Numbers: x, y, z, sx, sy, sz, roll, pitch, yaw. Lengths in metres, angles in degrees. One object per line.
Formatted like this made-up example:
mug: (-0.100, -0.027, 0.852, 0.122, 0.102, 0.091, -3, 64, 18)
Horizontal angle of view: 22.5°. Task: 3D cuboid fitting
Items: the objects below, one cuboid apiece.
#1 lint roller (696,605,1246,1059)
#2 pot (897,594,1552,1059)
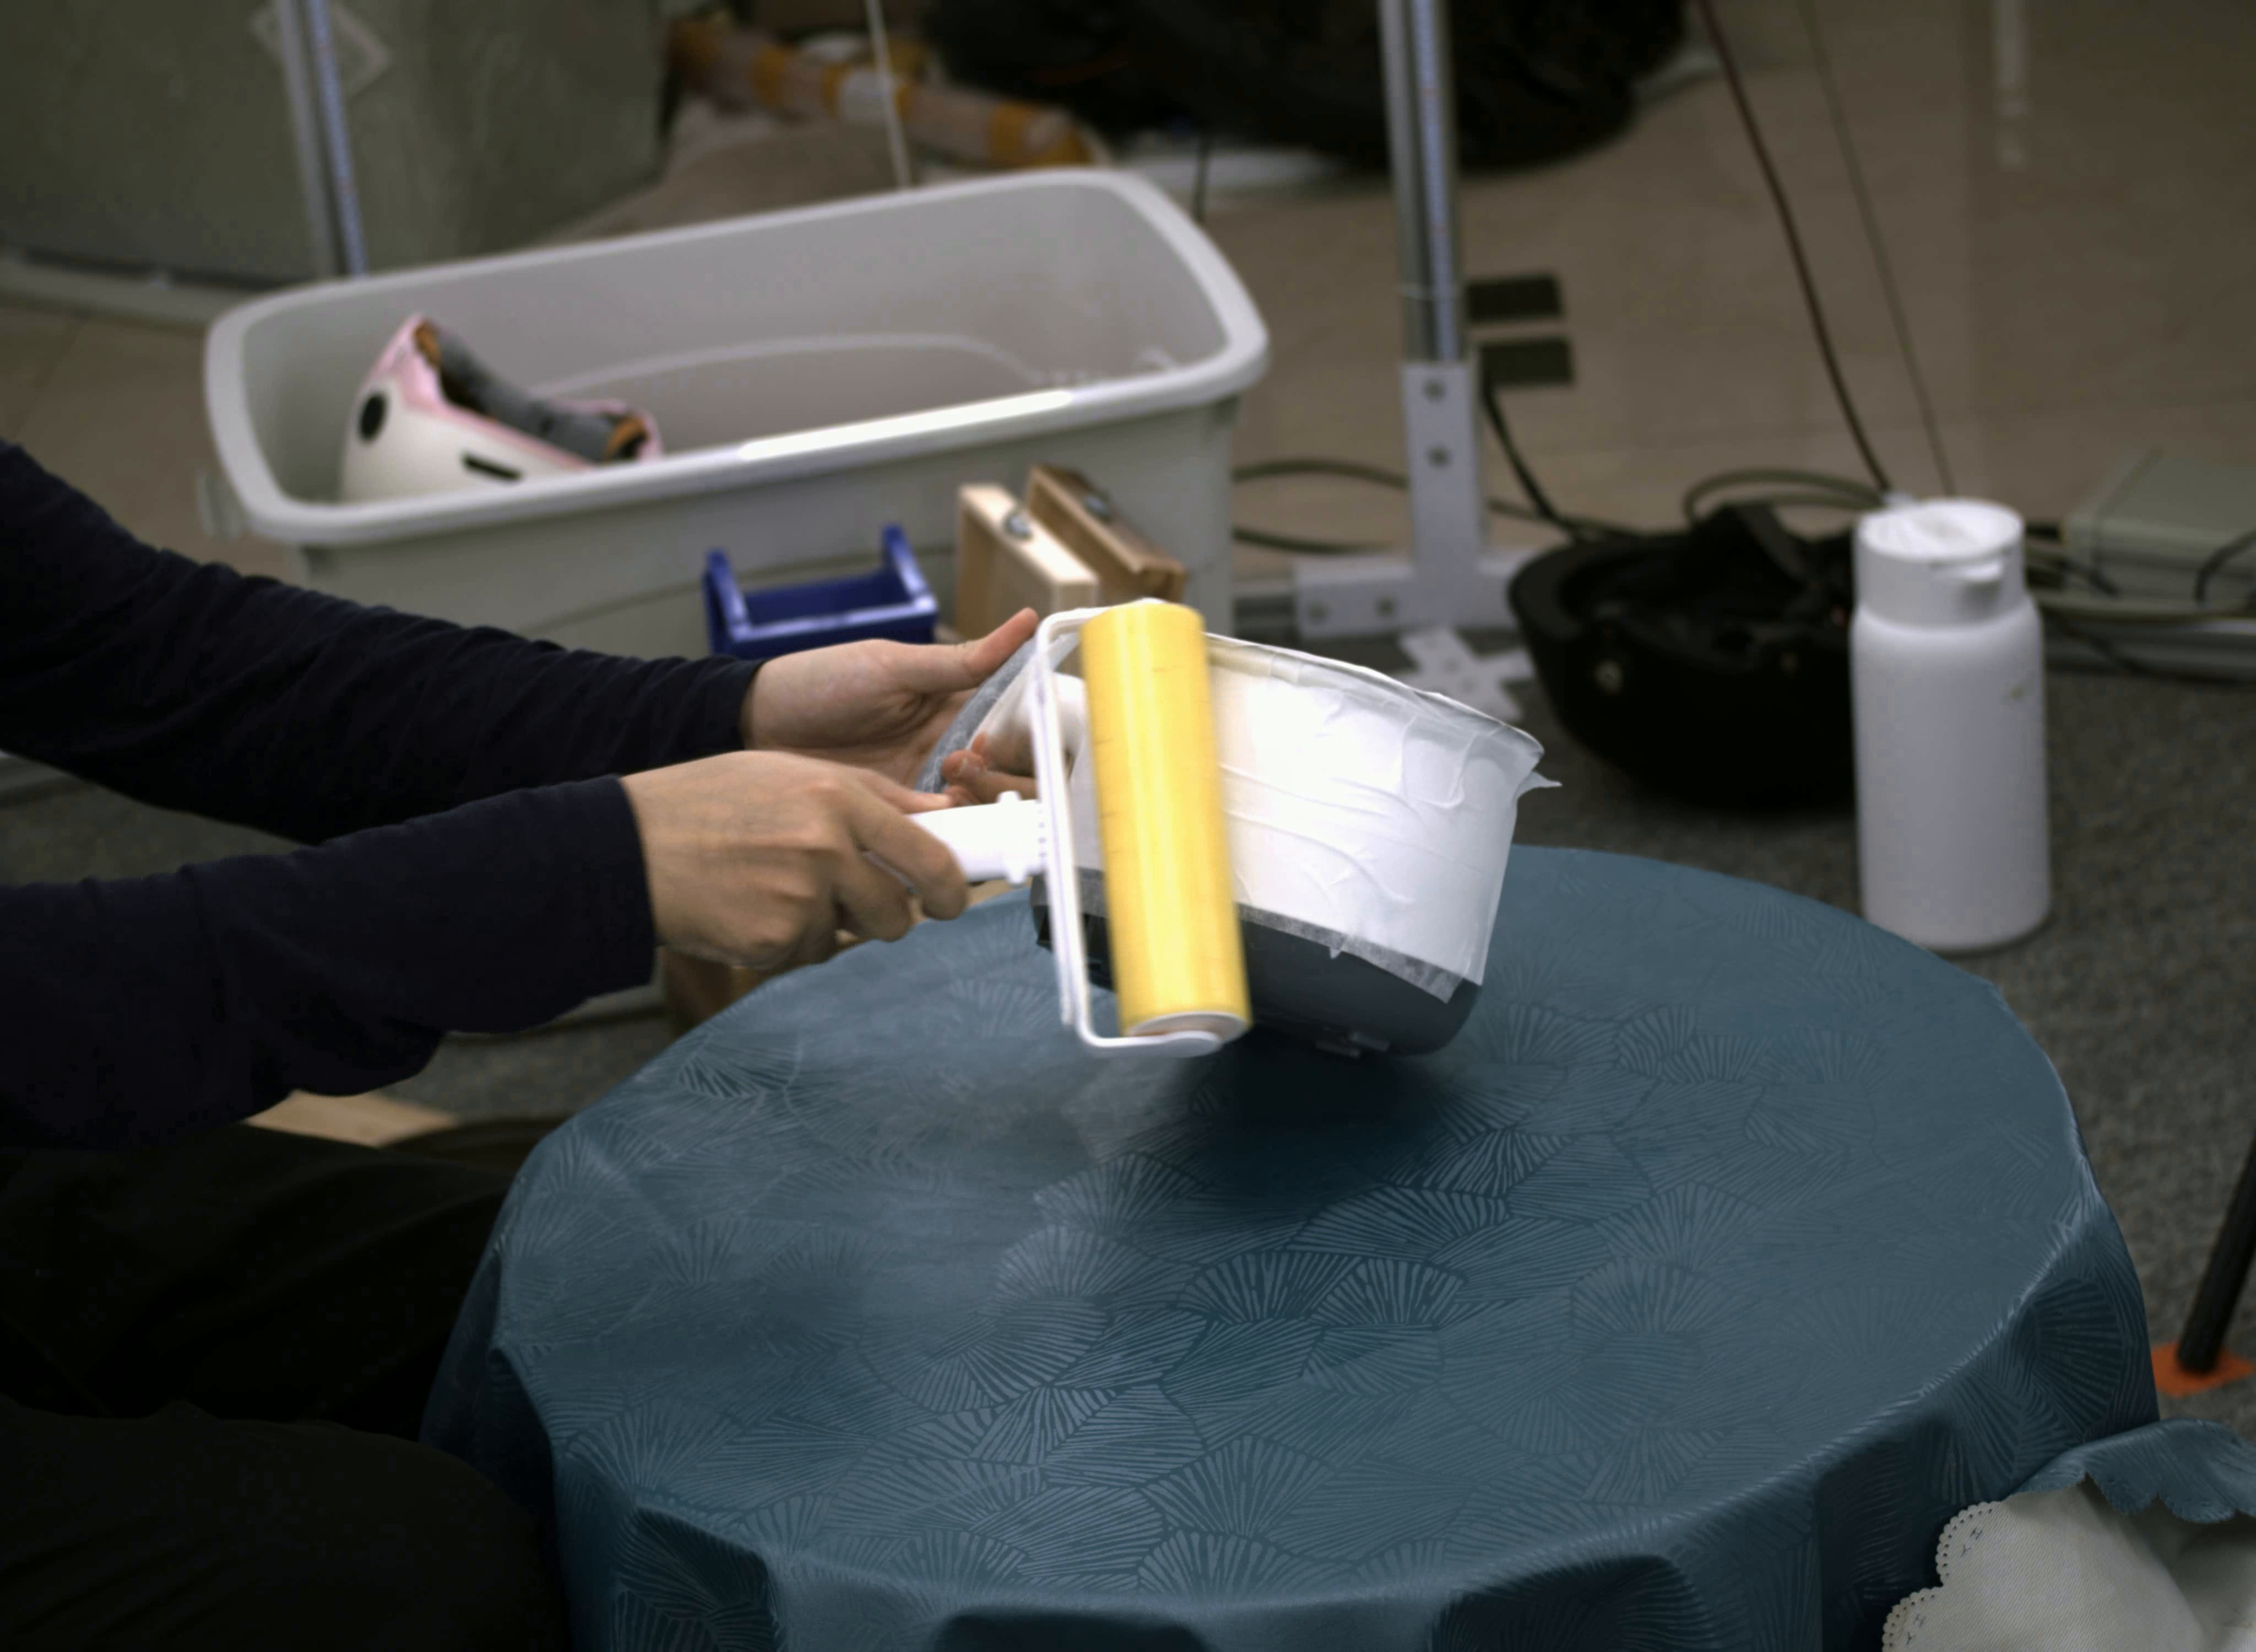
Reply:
lint roller: (-0.061, 0.007, 2.076, 0.191, 0.052, 0.172, -4, 69, -10)
pot: (0.034, -0.003, 2.183, 0.233, 0.136, 0.179, 18, -7, -5)
